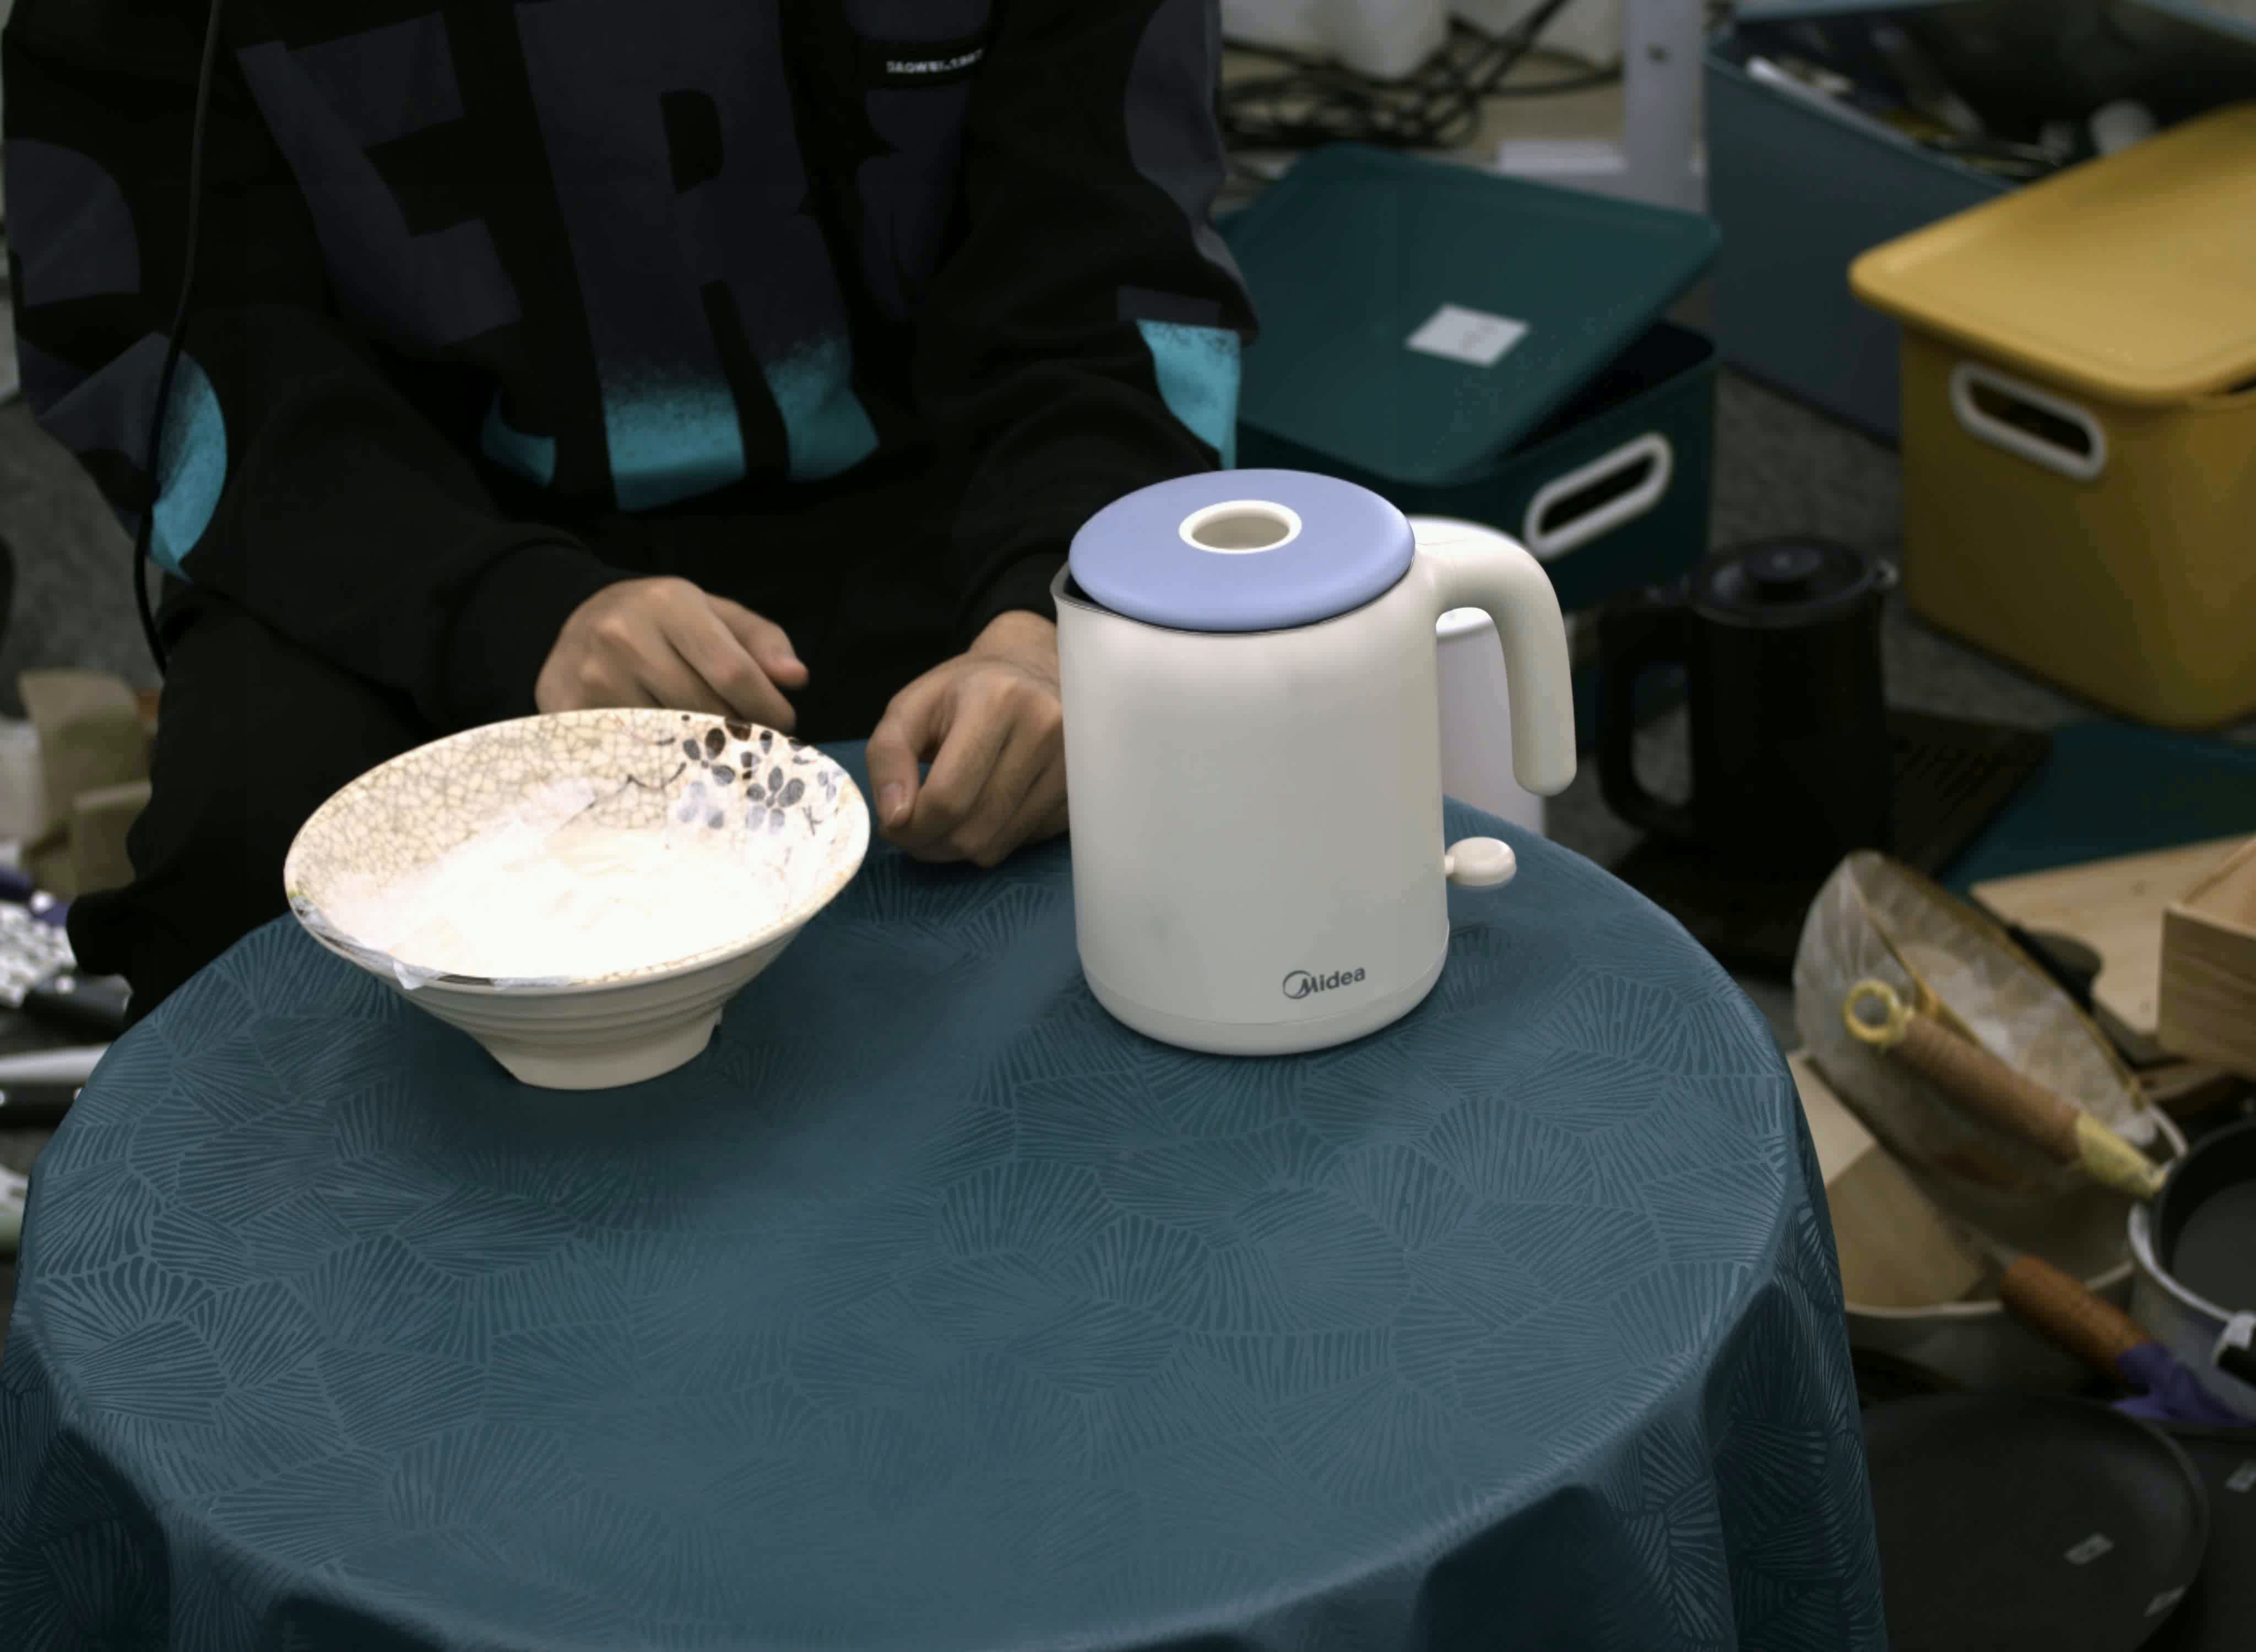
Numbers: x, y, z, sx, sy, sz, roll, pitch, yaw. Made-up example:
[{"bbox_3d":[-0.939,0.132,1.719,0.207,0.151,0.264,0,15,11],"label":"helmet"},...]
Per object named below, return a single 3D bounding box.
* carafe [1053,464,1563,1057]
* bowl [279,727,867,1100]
[{"bbox_3d":[0.065,-0.027,1.958,0.191,0.180,0.133,-10,28,-18],"label":"carafe"},{"bbox_3d":[-0.190,0.041,1.954,0.203,0.077,0.207,-2,24,1],"label":"bowl"}]
